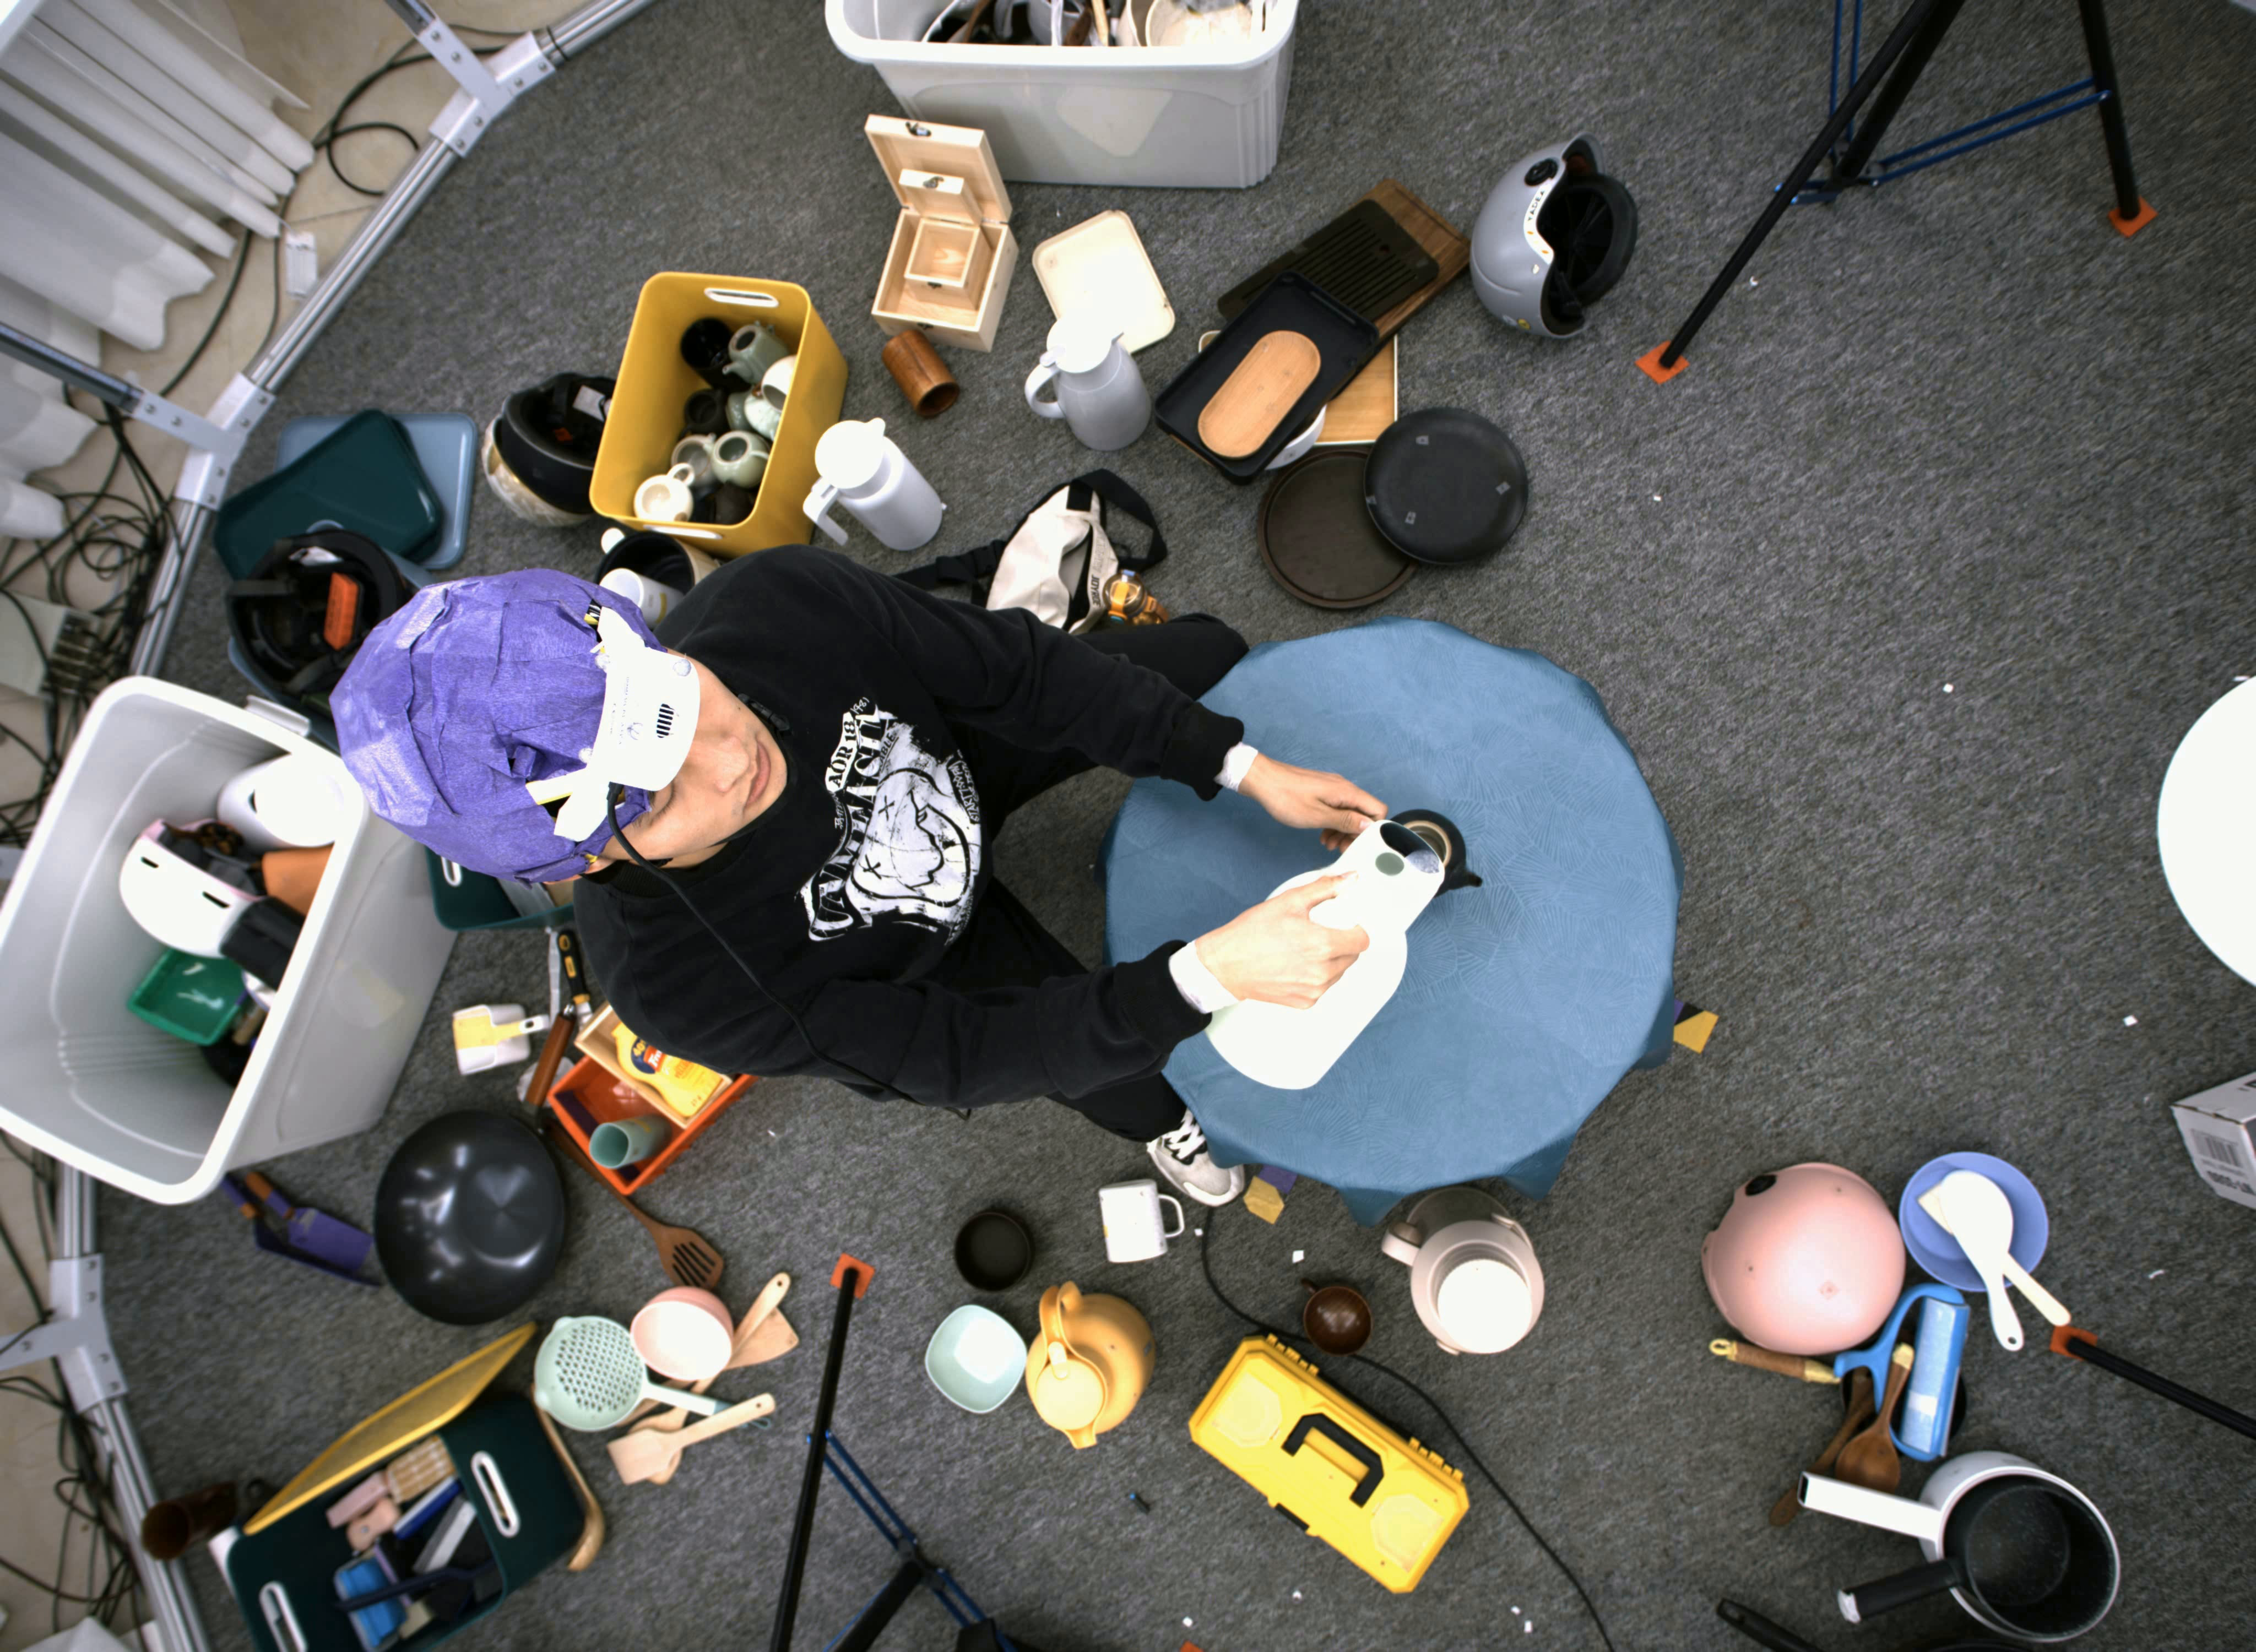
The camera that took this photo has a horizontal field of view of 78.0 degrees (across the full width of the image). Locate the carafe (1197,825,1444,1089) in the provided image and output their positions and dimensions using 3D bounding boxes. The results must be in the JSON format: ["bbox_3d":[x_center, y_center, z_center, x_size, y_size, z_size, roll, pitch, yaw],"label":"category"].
[{"bbox_3d":[0.173,0.115,1.237,0.143,0.183,0.263,43,127,13],"label":"carafe"}]

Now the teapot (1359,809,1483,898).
[{"bbox_3d":[0.288,0.025,1.362,0.133,0.053,0.091,29,87,11],"label":"teapot"}]
